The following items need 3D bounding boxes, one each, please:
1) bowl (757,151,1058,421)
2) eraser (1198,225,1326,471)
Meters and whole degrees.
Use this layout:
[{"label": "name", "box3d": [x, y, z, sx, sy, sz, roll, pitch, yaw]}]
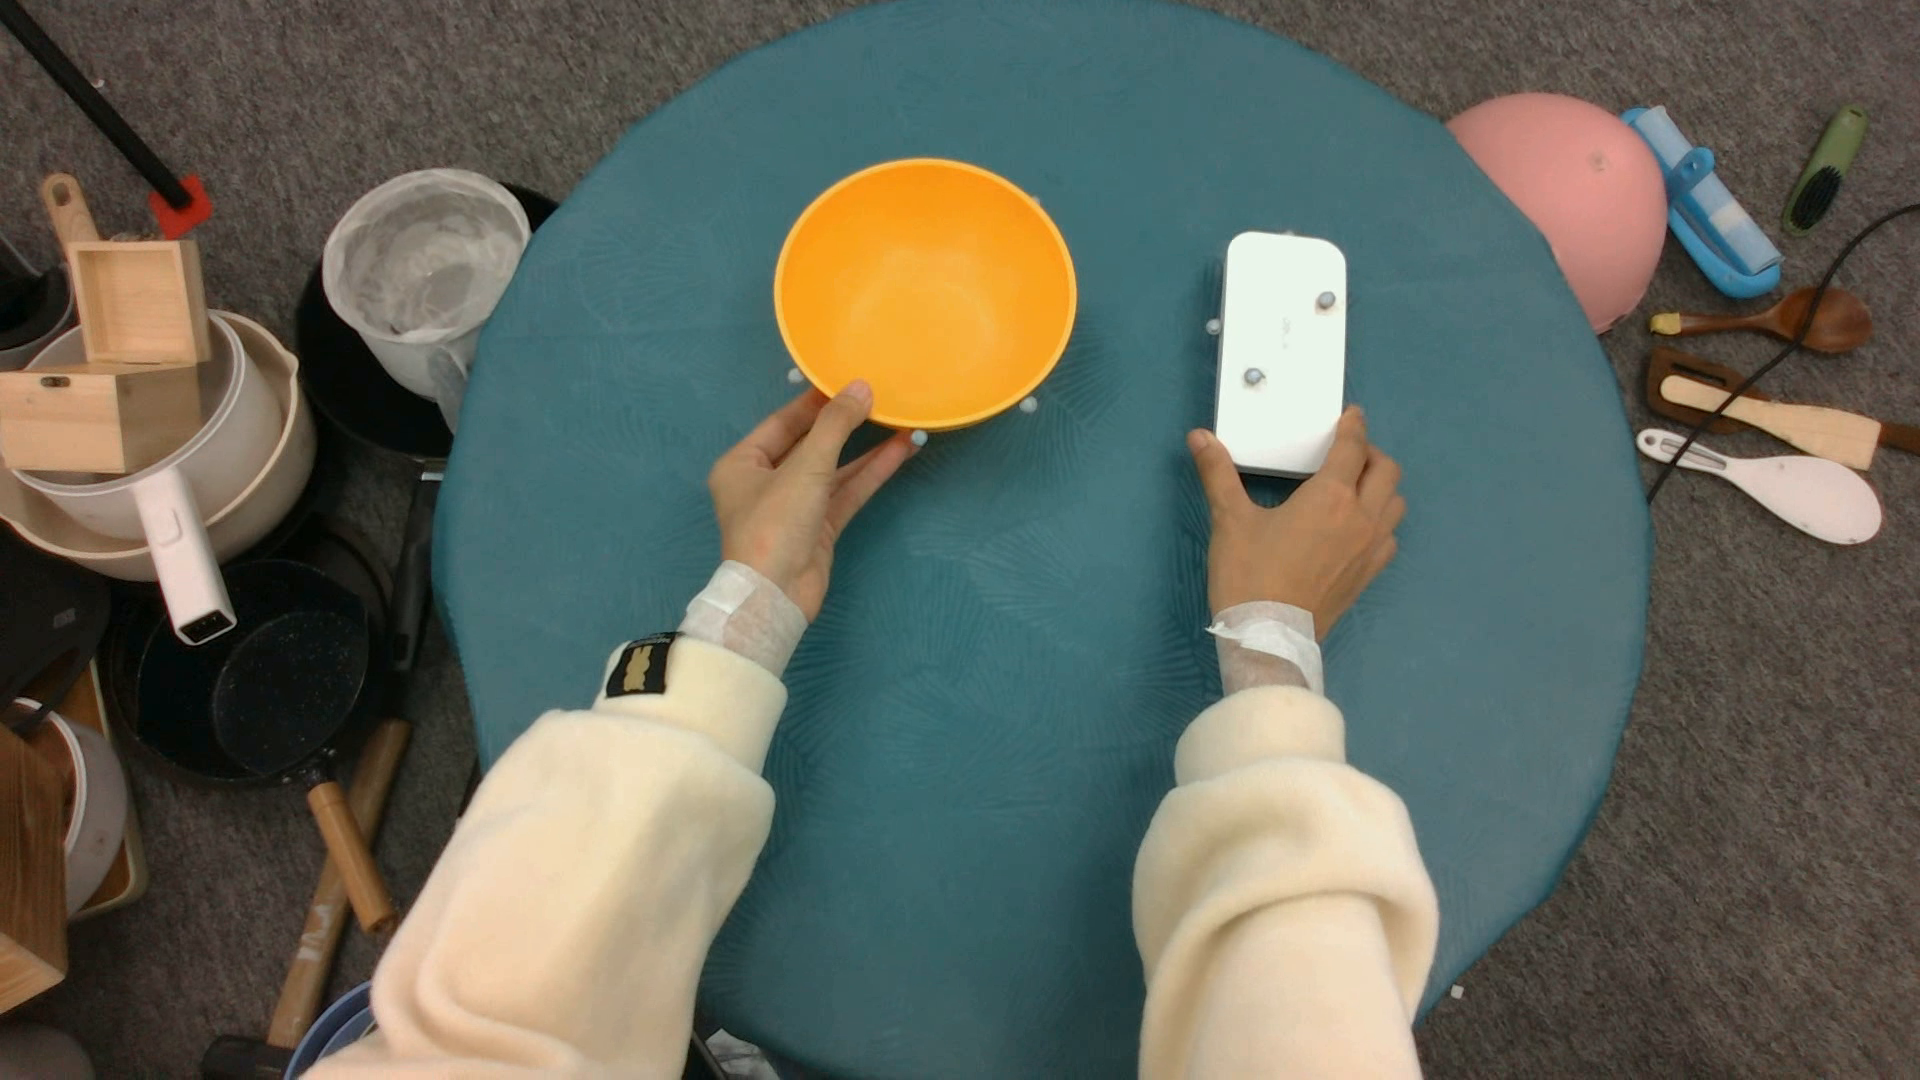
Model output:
[{"label": "bowl", "box3d": [-0.027, -0.116, 0.684, 0.145, 0.060, 0.146, 1, 70, -4]}, {"label": "eraser", "box3d": [0.152, -0.099, 0.702, 0.063, 0.034, 0.131, 6, 71, 0]}]
